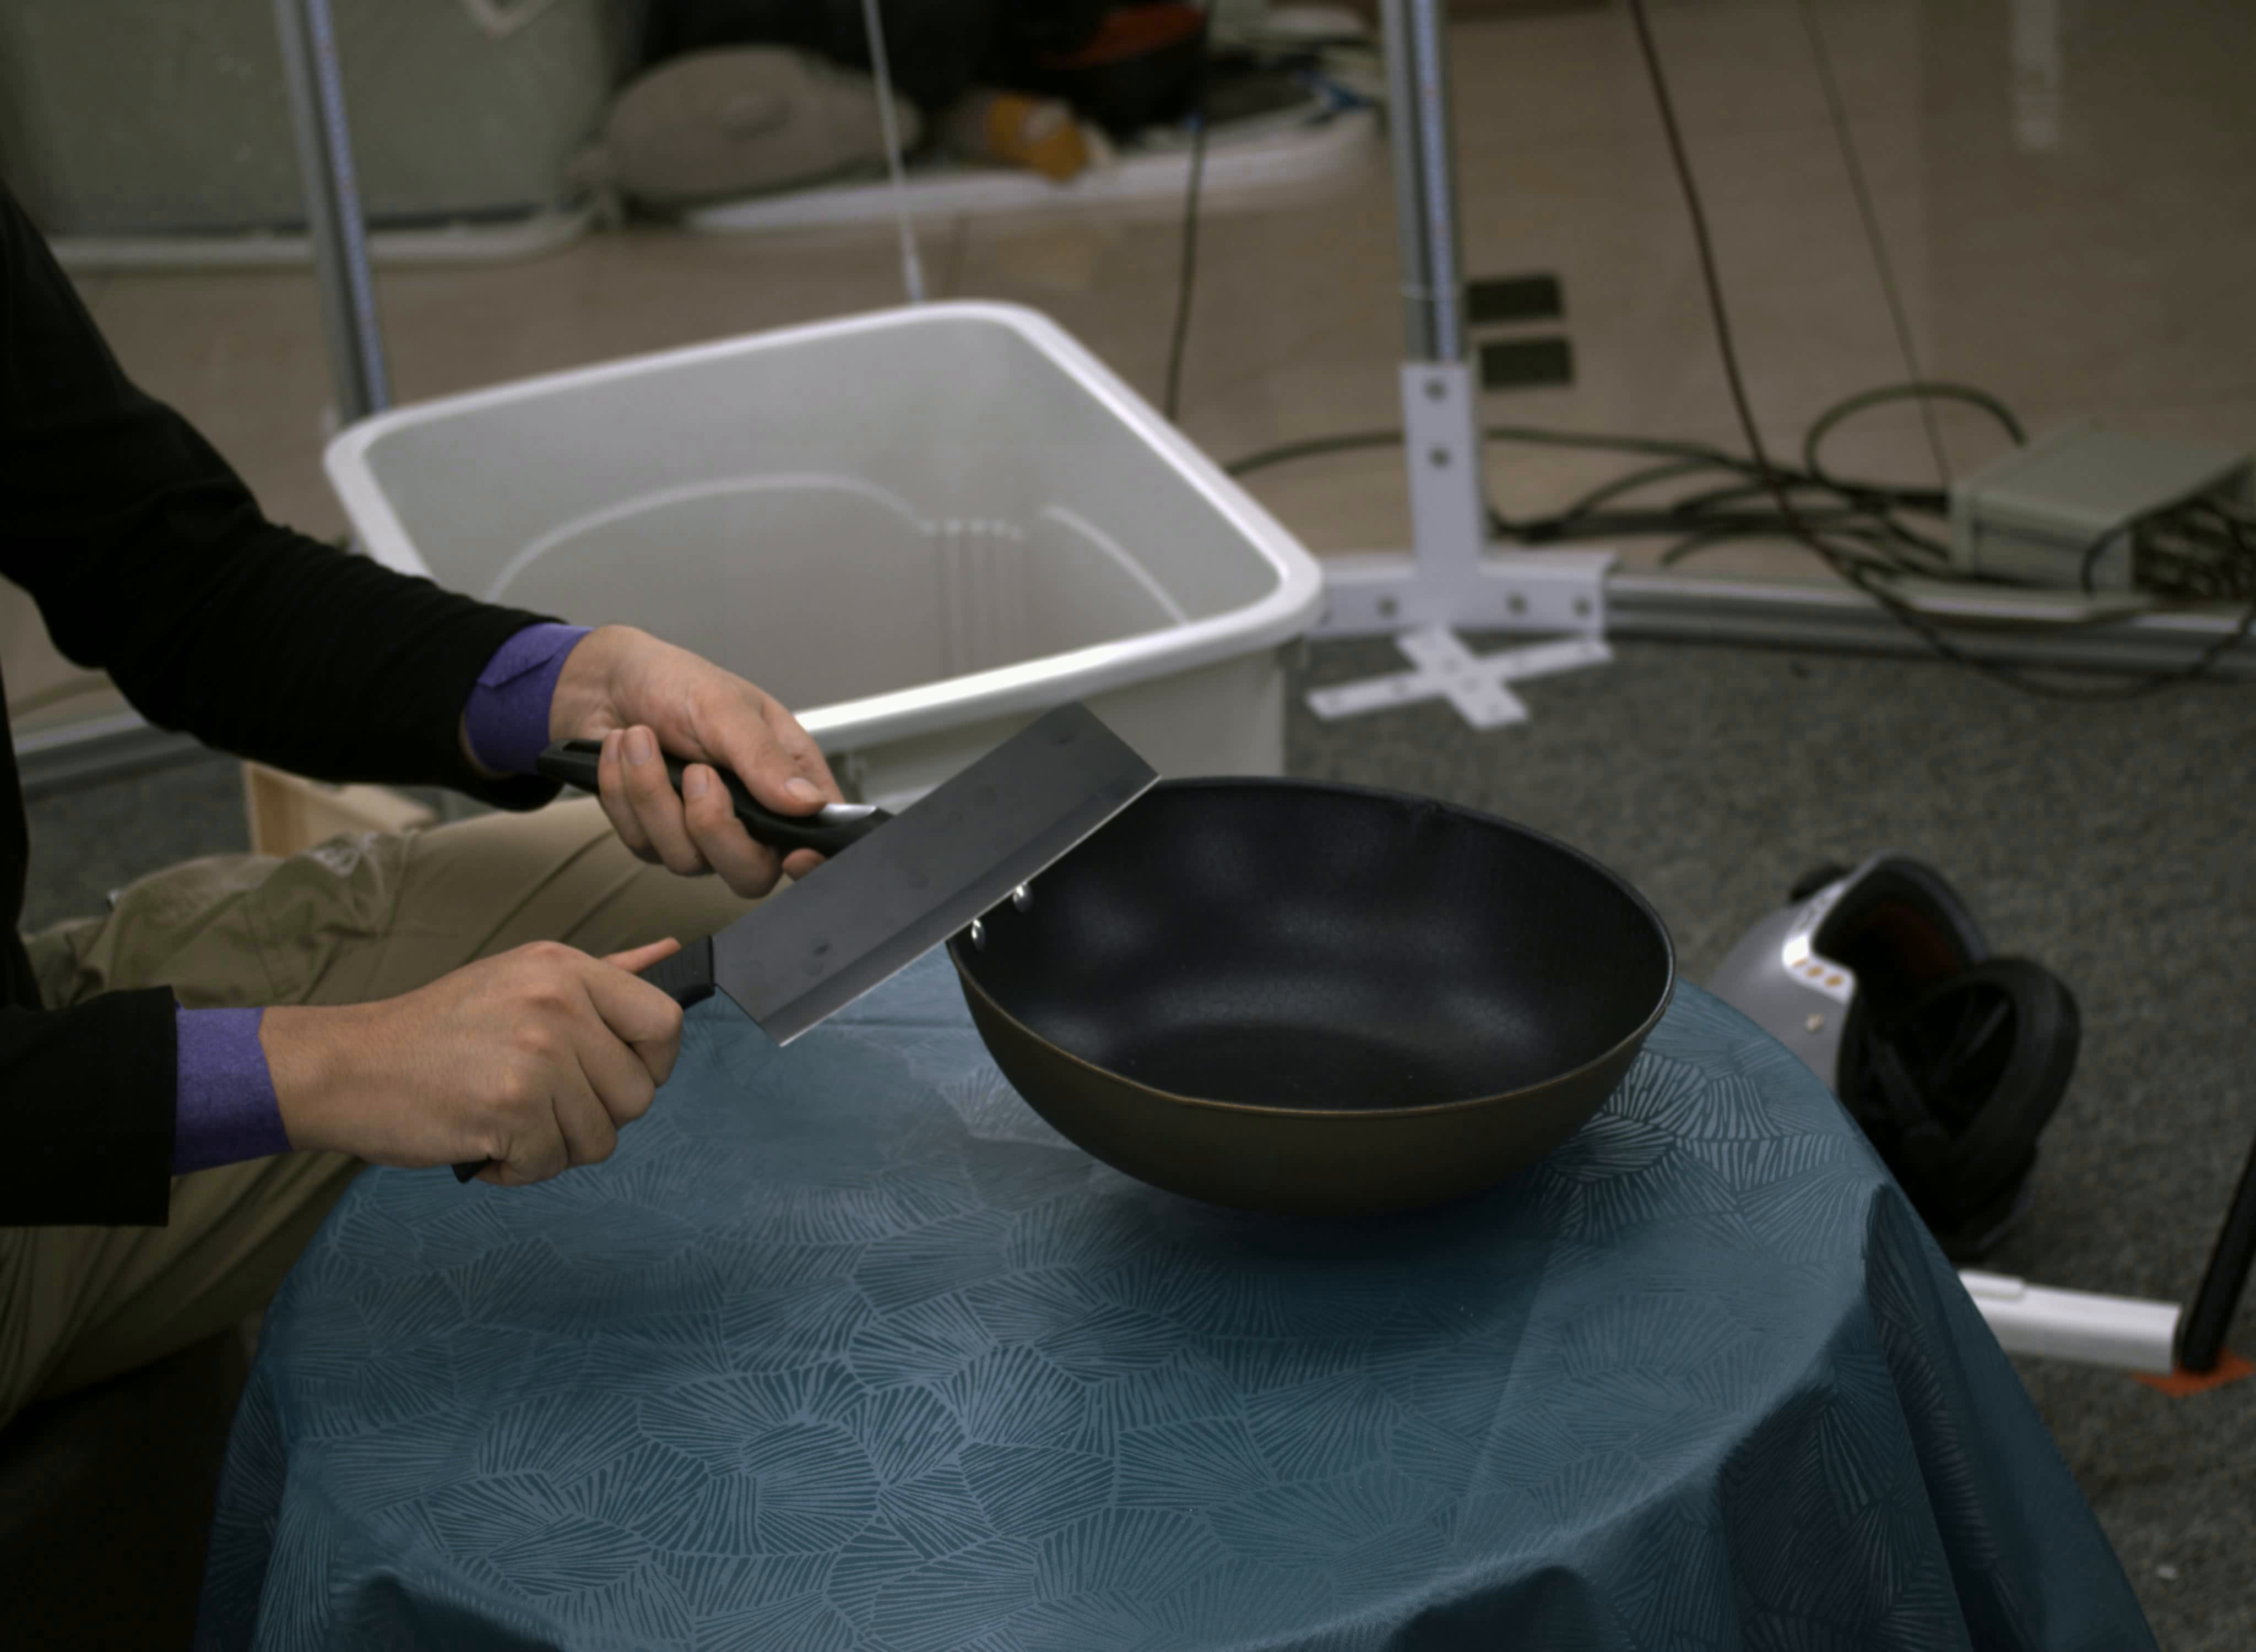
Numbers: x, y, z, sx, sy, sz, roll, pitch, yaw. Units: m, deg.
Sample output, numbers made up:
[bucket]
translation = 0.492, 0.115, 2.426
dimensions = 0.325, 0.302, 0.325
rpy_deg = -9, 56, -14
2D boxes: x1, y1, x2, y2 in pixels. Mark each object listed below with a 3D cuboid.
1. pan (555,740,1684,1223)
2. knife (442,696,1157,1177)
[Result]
[pan]
translation = -0.016, 0.055, 2.174
dimensions = 0.461, 0.088, 0.285
rpy_deg = 14, 27, 19
[knife]
translation = -0.125, 0.043, 2.108
dimensions = 0.301, 0.021, 0.080
rpy_deg = -31, 47, -11
